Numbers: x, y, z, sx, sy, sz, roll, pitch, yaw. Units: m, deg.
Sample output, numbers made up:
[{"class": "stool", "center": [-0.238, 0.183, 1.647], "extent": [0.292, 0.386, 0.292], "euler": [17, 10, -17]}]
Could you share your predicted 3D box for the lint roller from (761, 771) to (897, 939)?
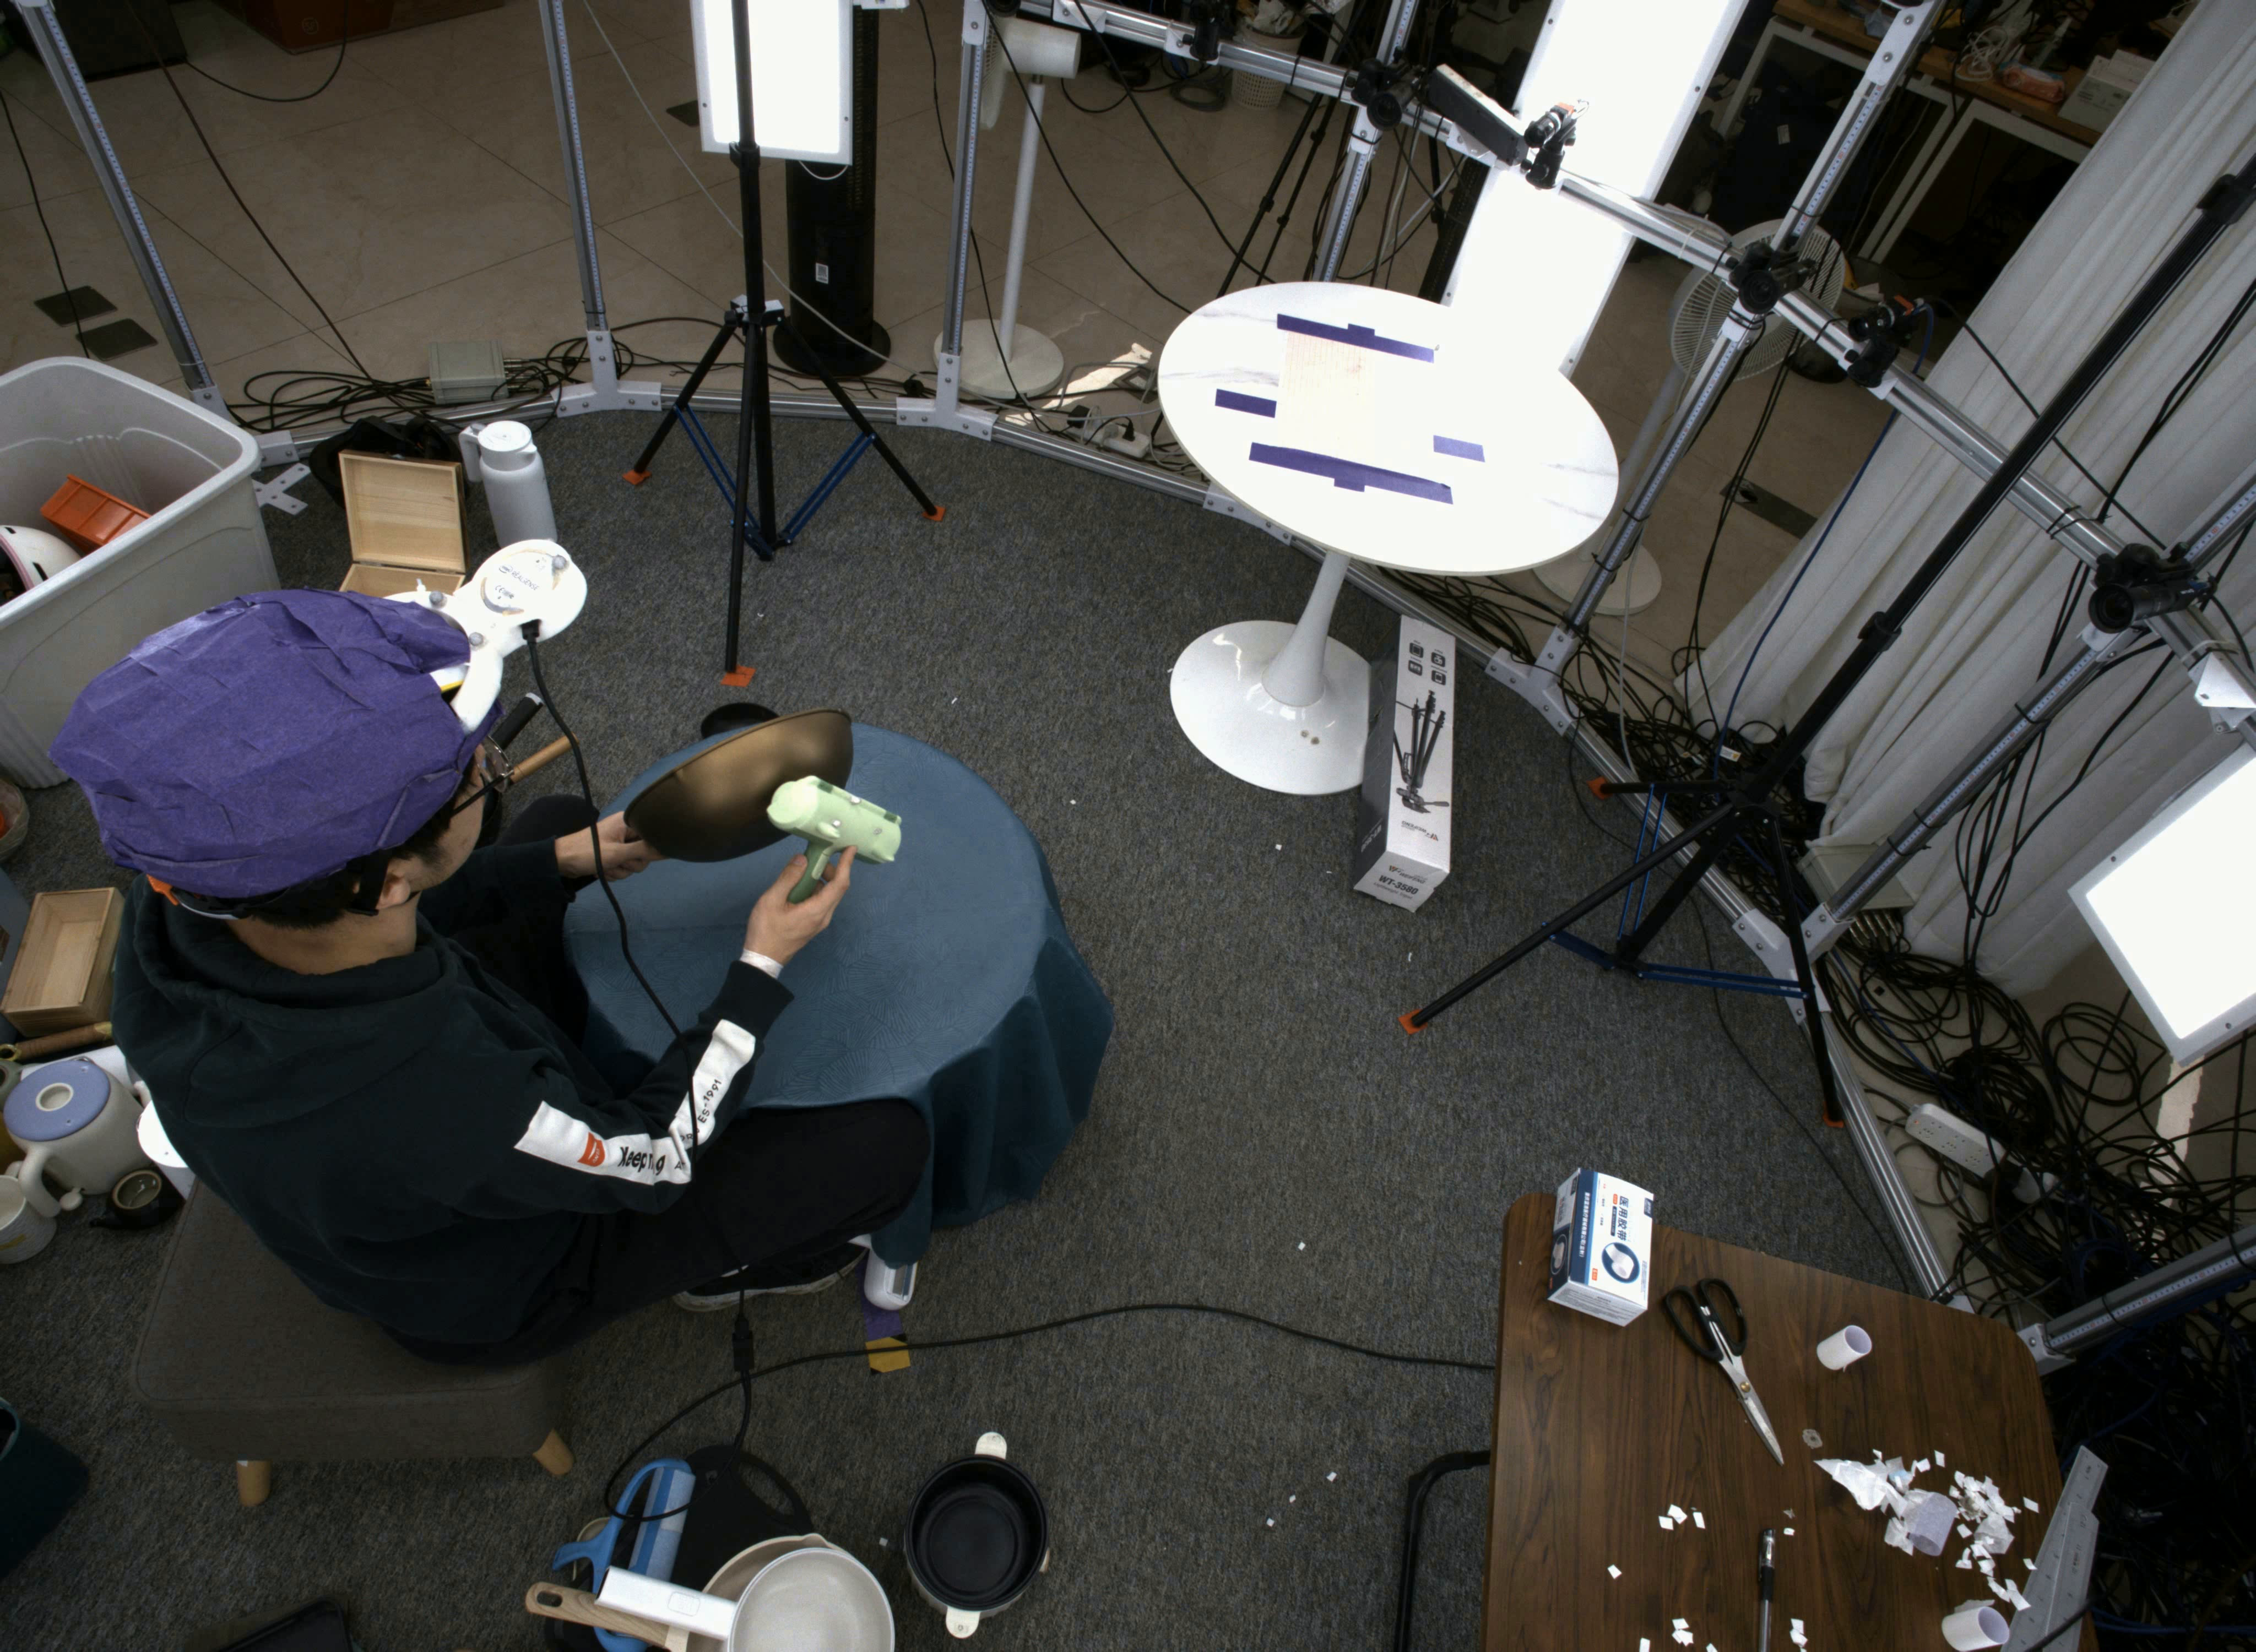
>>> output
[{"class": "lint roller", "center": [-0.342, 0.048, 1.438], "extent": [0.079, 0.204, 0.184], "euler": [21, 85, 24]}]

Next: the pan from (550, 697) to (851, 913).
[{"class": "pan", "center": [-0.502, 0.010, 1.482], "extent": [0.459, 0.291, 0.087], "euler": [-31, 83, 11]}]
